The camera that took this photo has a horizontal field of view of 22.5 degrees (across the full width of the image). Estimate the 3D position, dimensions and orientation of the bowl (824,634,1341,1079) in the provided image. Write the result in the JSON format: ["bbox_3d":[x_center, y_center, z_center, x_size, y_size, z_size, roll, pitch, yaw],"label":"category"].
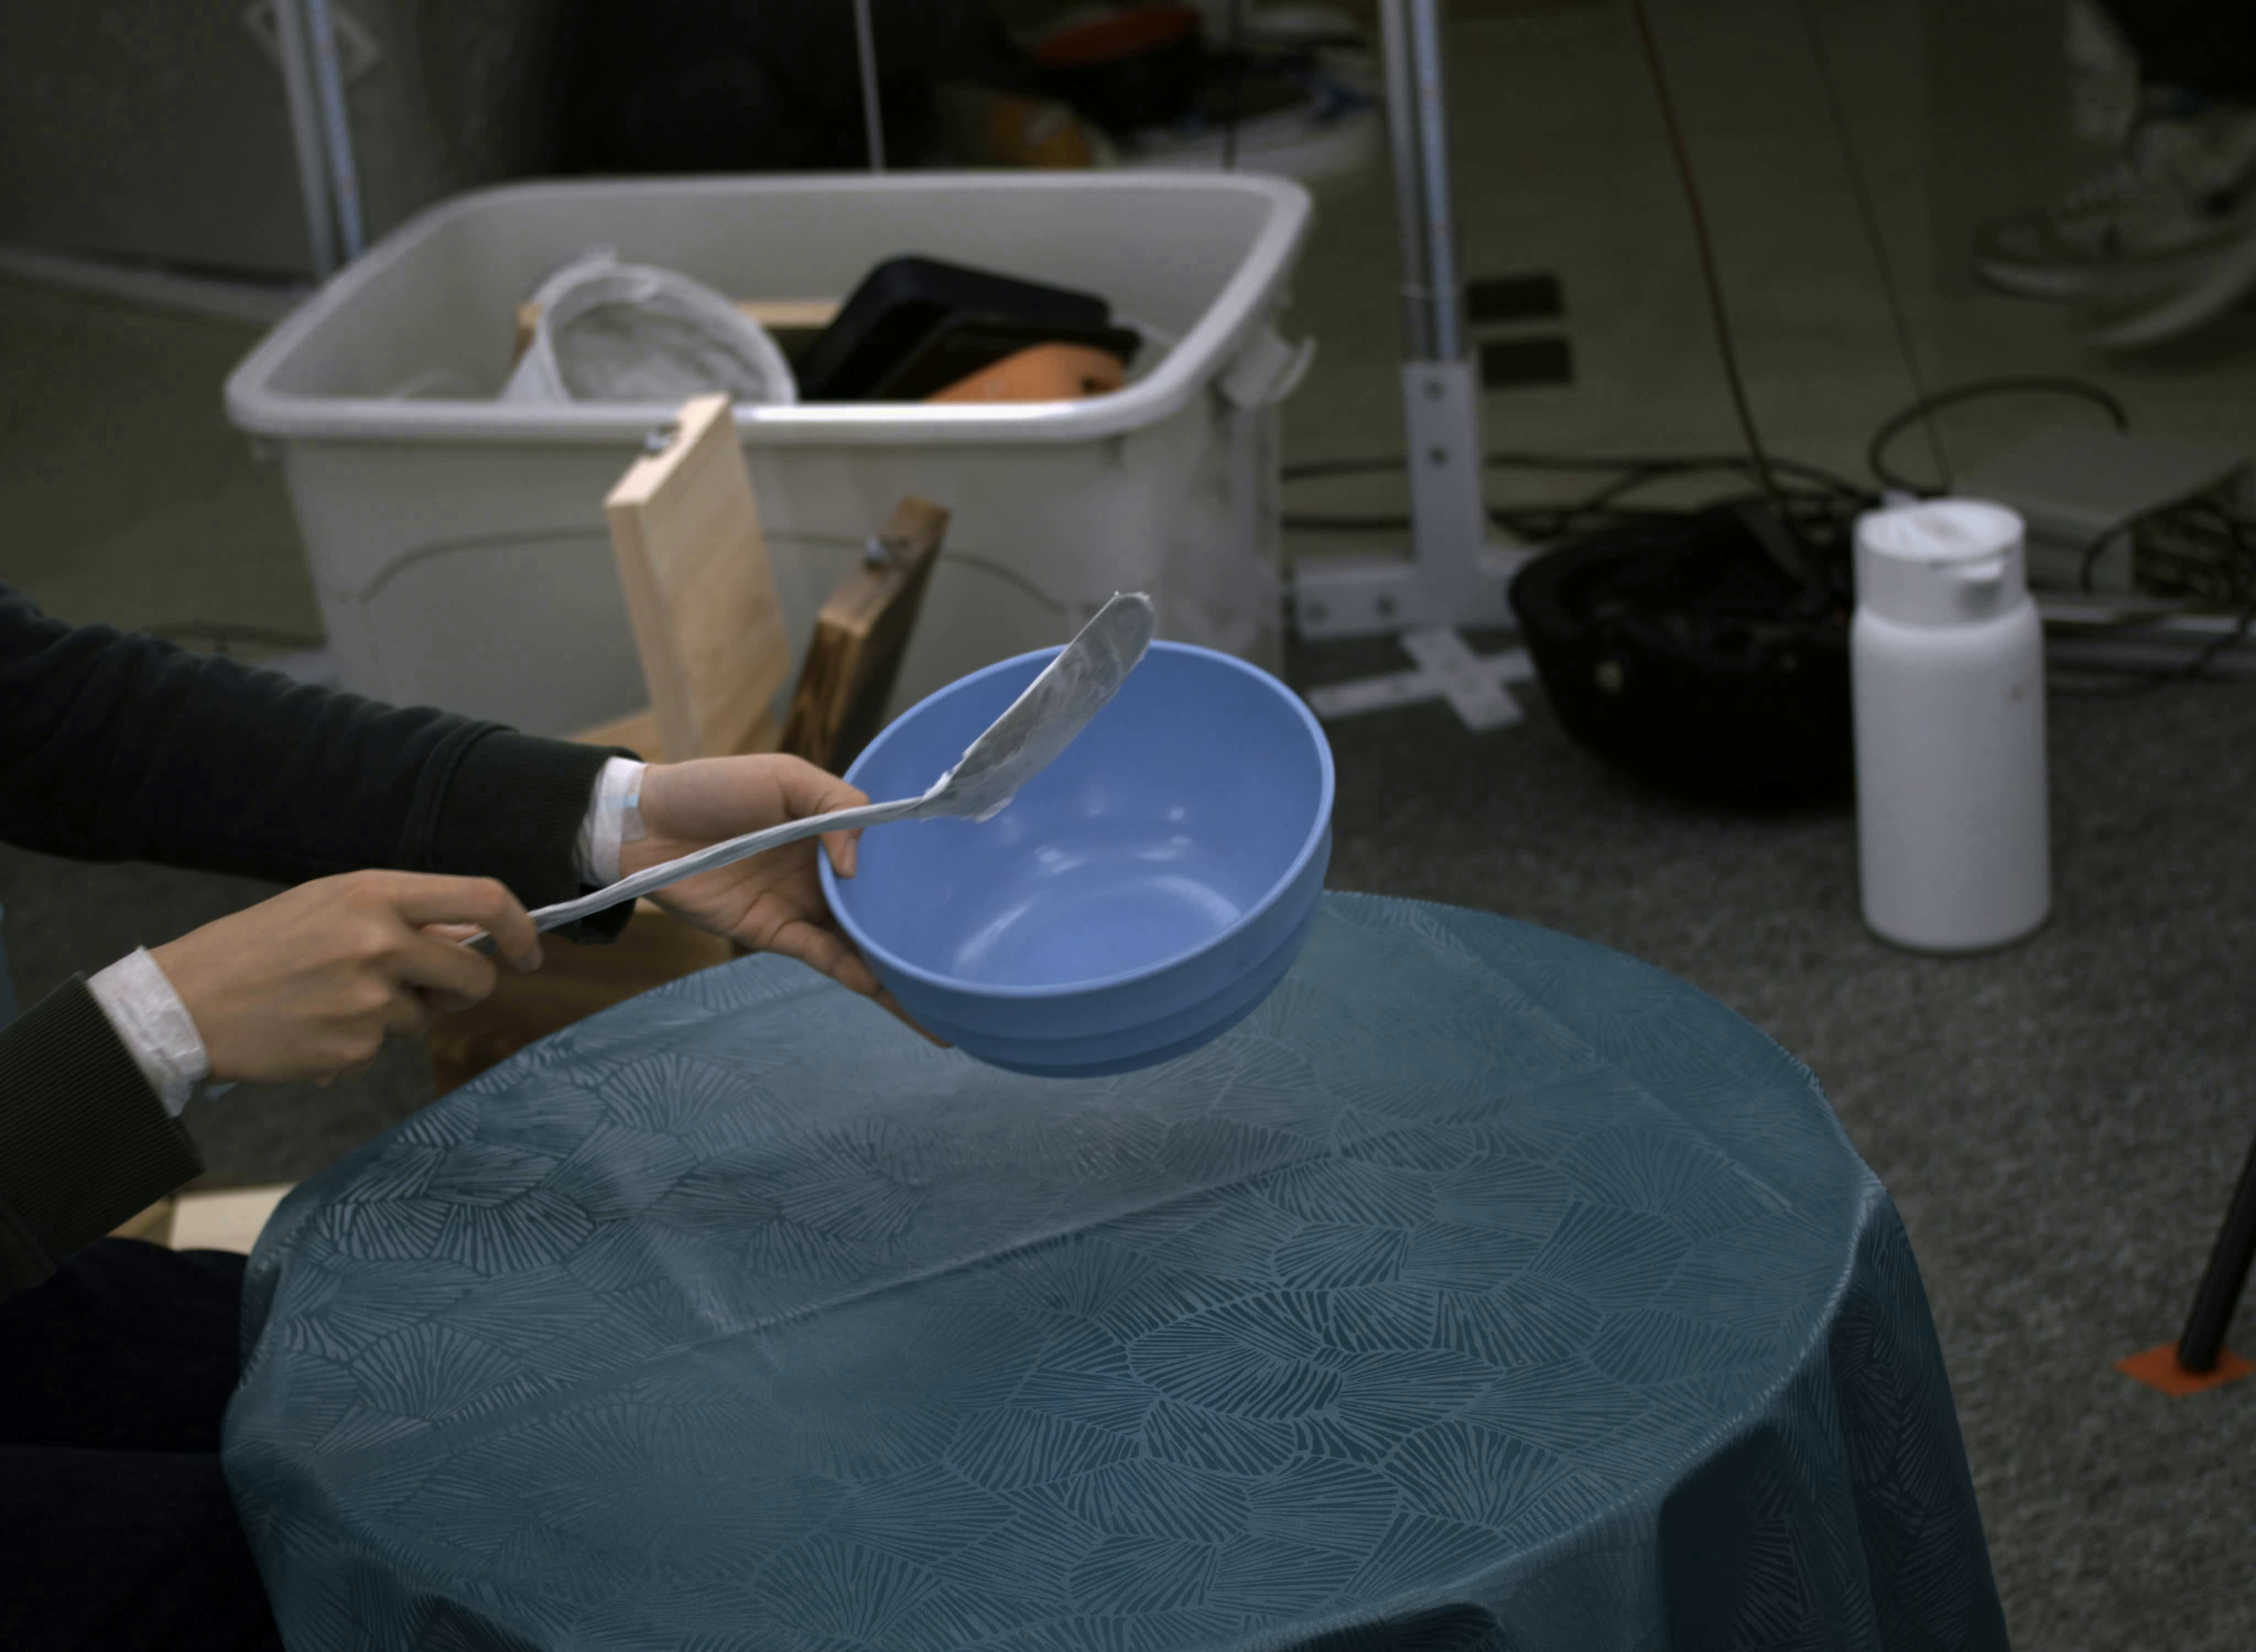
[{"bbox_3d":[-0.010,0.027,2.142,0.196,0.097,0.193,-7,43,7],"label":"bowl"}]

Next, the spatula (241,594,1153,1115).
[{"bbox_3d":[-0.152,0.012,1.996,0.364,0.044,0.099,-22,-13,-5],"label":"spatula"}]
